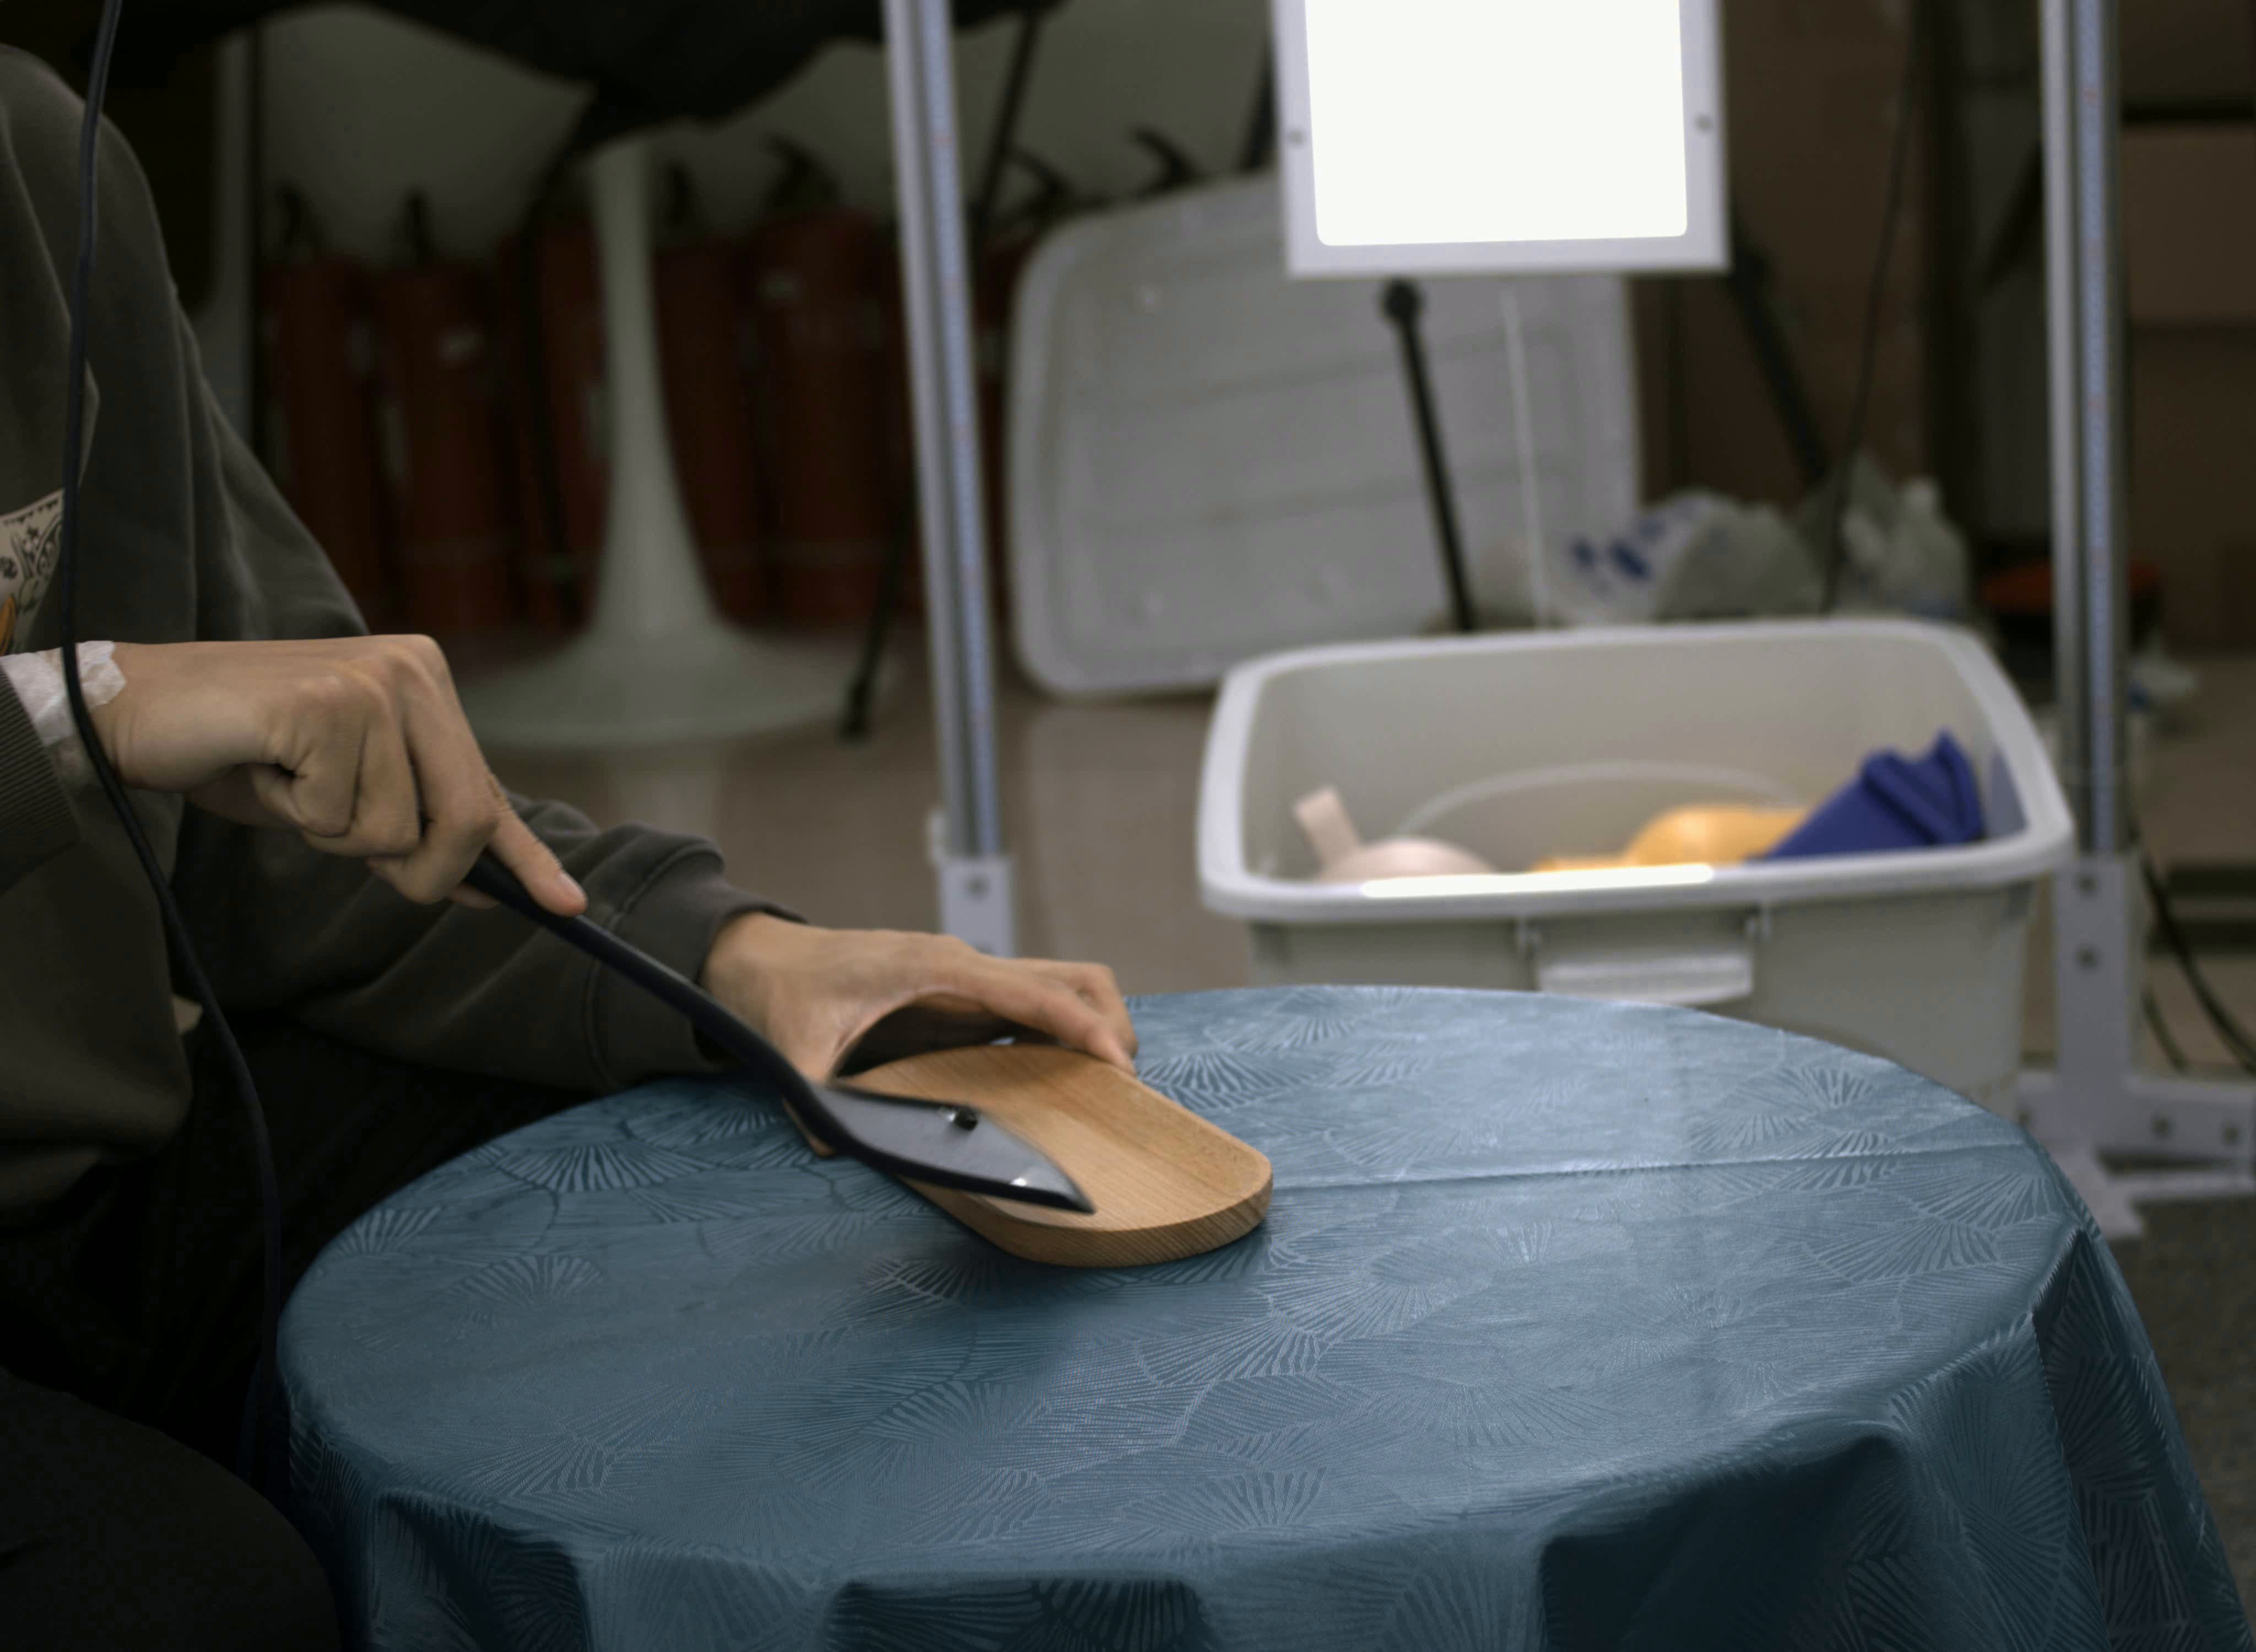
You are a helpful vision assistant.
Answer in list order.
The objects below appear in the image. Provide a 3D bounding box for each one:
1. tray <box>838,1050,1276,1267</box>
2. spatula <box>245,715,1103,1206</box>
[{"bbox_3d":[-0.027,0.114,1.920,0.100,0.020,0.234,-12,17,-21],"label":"tray"},{"bbox_3d":[-0.147,0.042,1.779,0.322,0.040,0.101,36,-1,-24],"label":"spatula"}]
